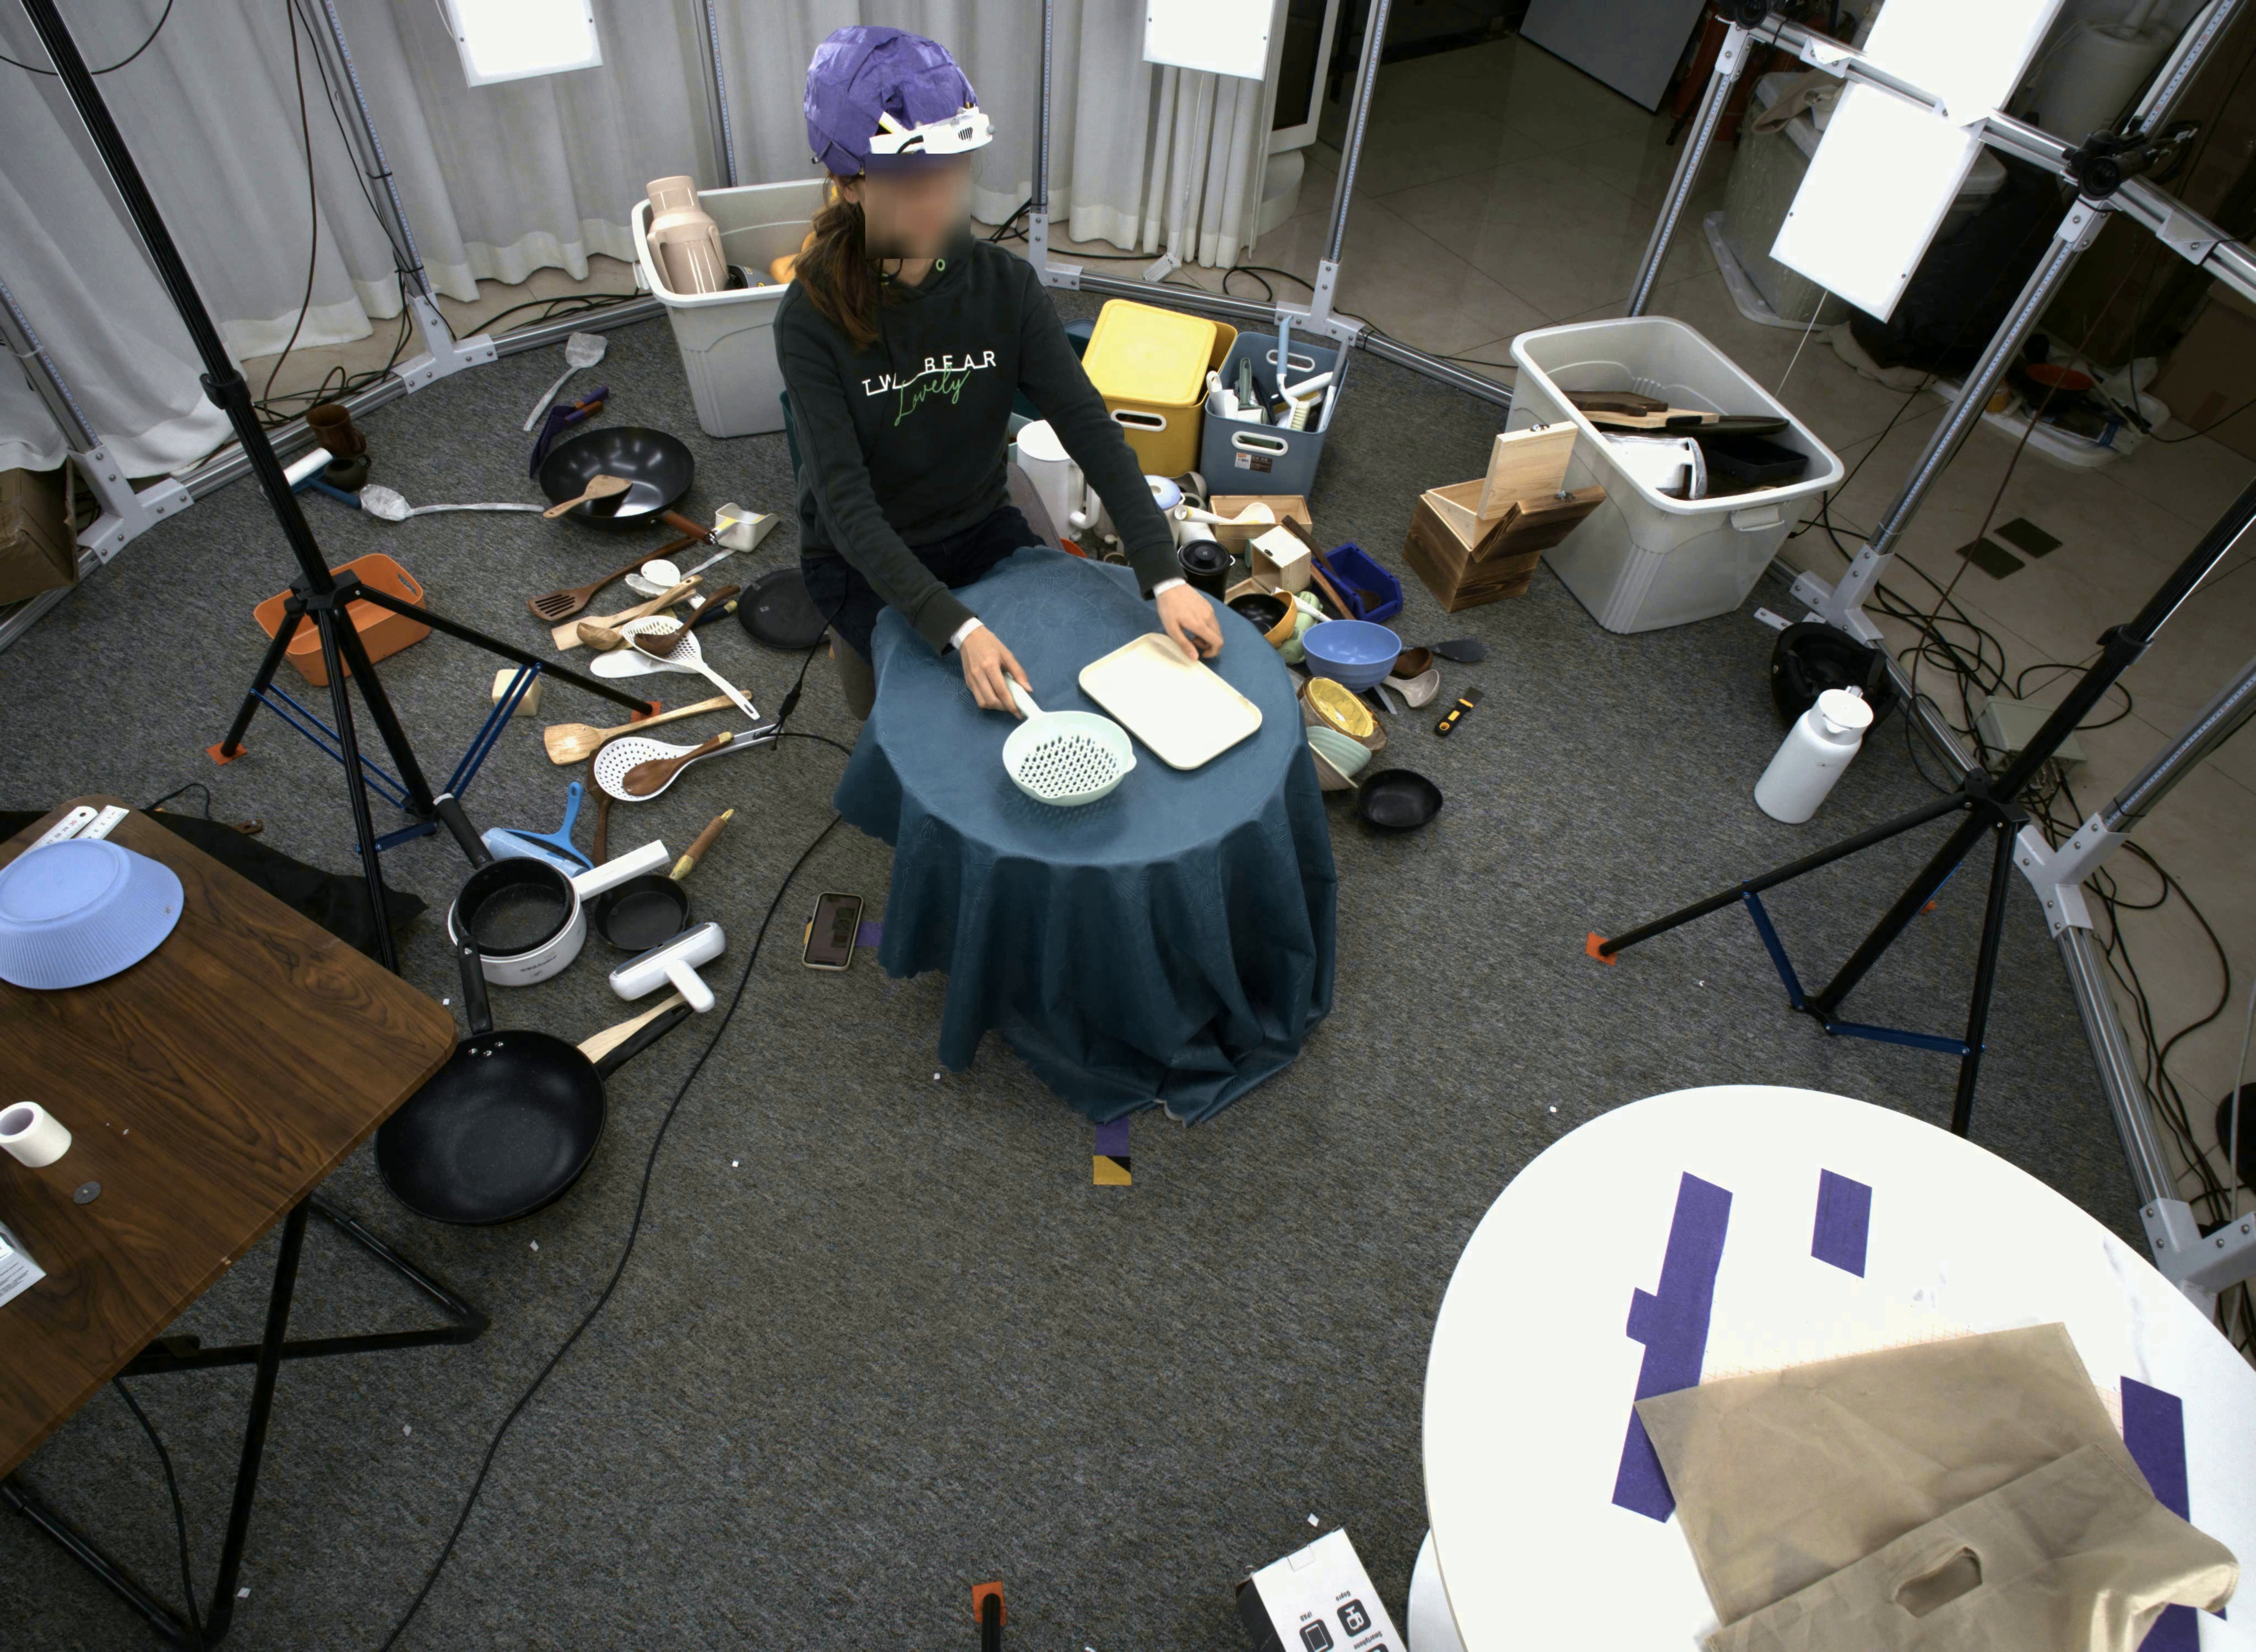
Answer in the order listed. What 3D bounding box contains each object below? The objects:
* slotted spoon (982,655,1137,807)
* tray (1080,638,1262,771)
[{"bbox_3d":[-0.125,-0.146,1.762,0.170,0.073,0.367,-20,53,-20],"label":"slotted spoon"},{"bbox_3d":[0.060,-0.176,1.831,0.172,0.017,0.244,-32,57,-28],"label":"tray"}]
